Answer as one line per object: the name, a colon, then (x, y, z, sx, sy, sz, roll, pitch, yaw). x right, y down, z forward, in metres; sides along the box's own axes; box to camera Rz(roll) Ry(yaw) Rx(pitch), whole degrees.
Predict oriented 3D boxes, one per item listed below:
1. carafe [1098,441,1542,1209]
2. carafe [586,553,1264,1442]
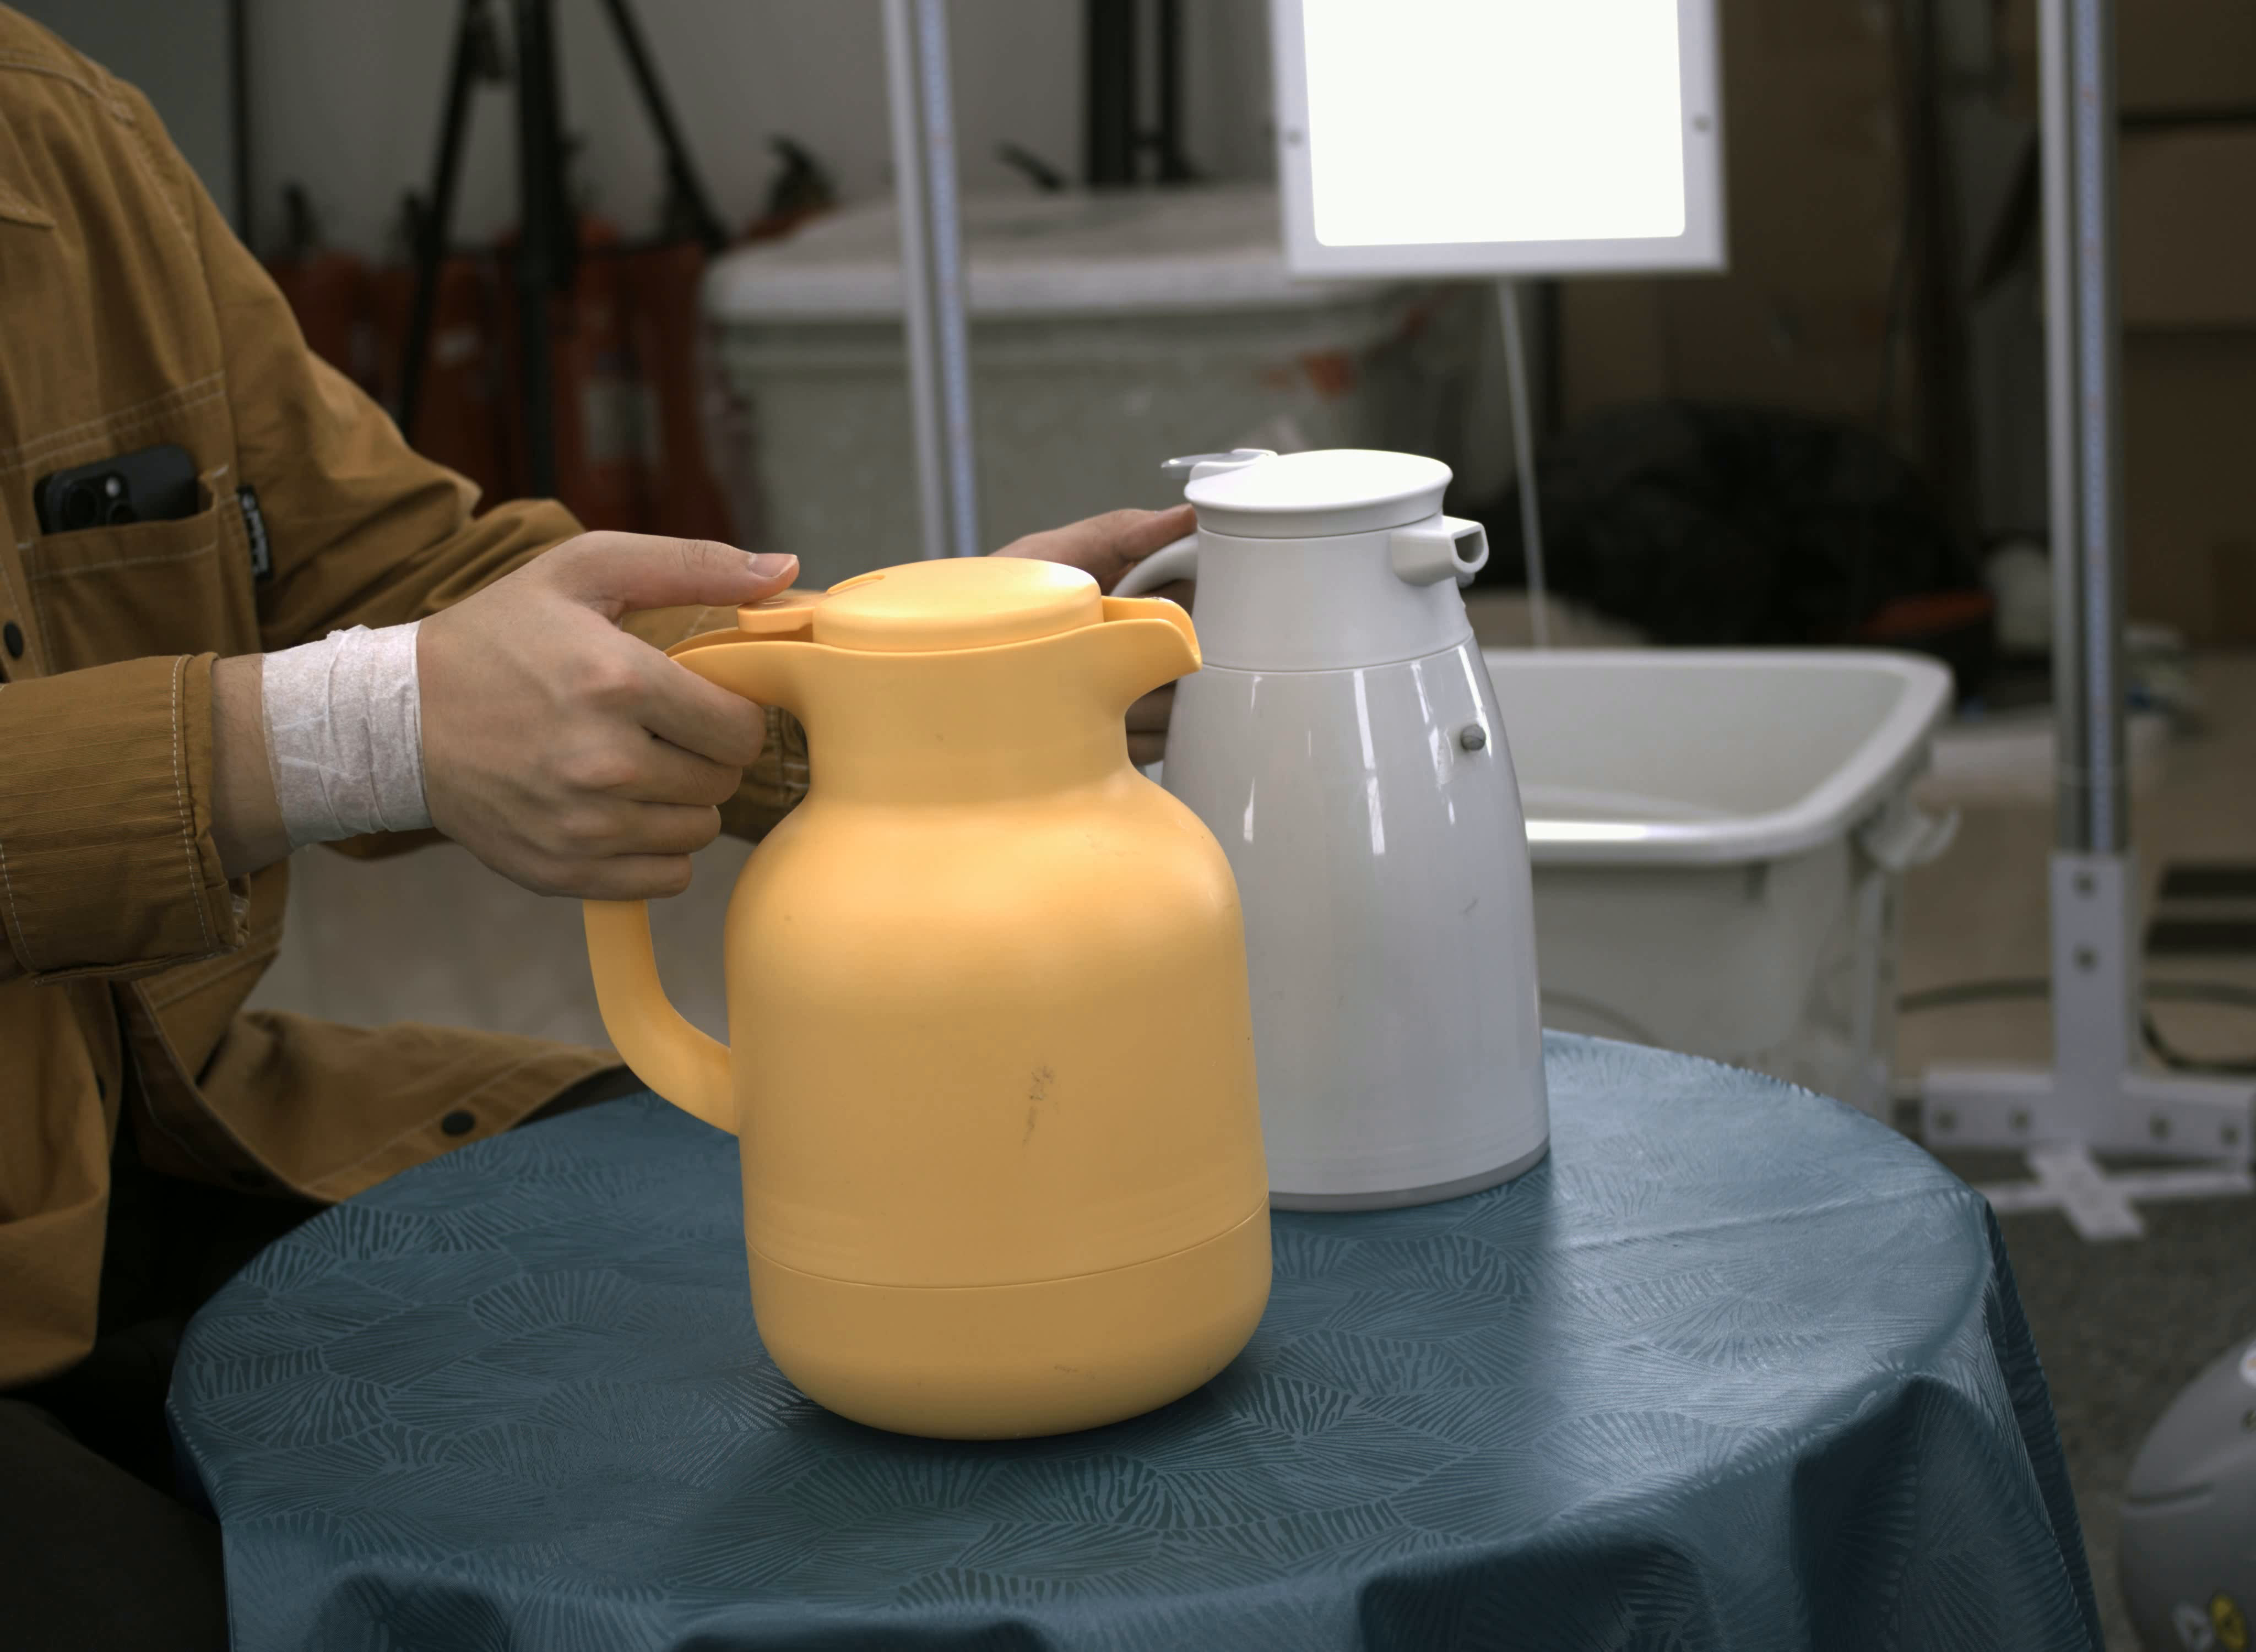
carafe: (0.056, -0.008, 1.899, 0.171, 0.249, 0.129, 6, 17, 39)
carafe: (-0.062, 0.049, 1.694, 0.203, 0.261, 0.162, -1, 12, 9)
